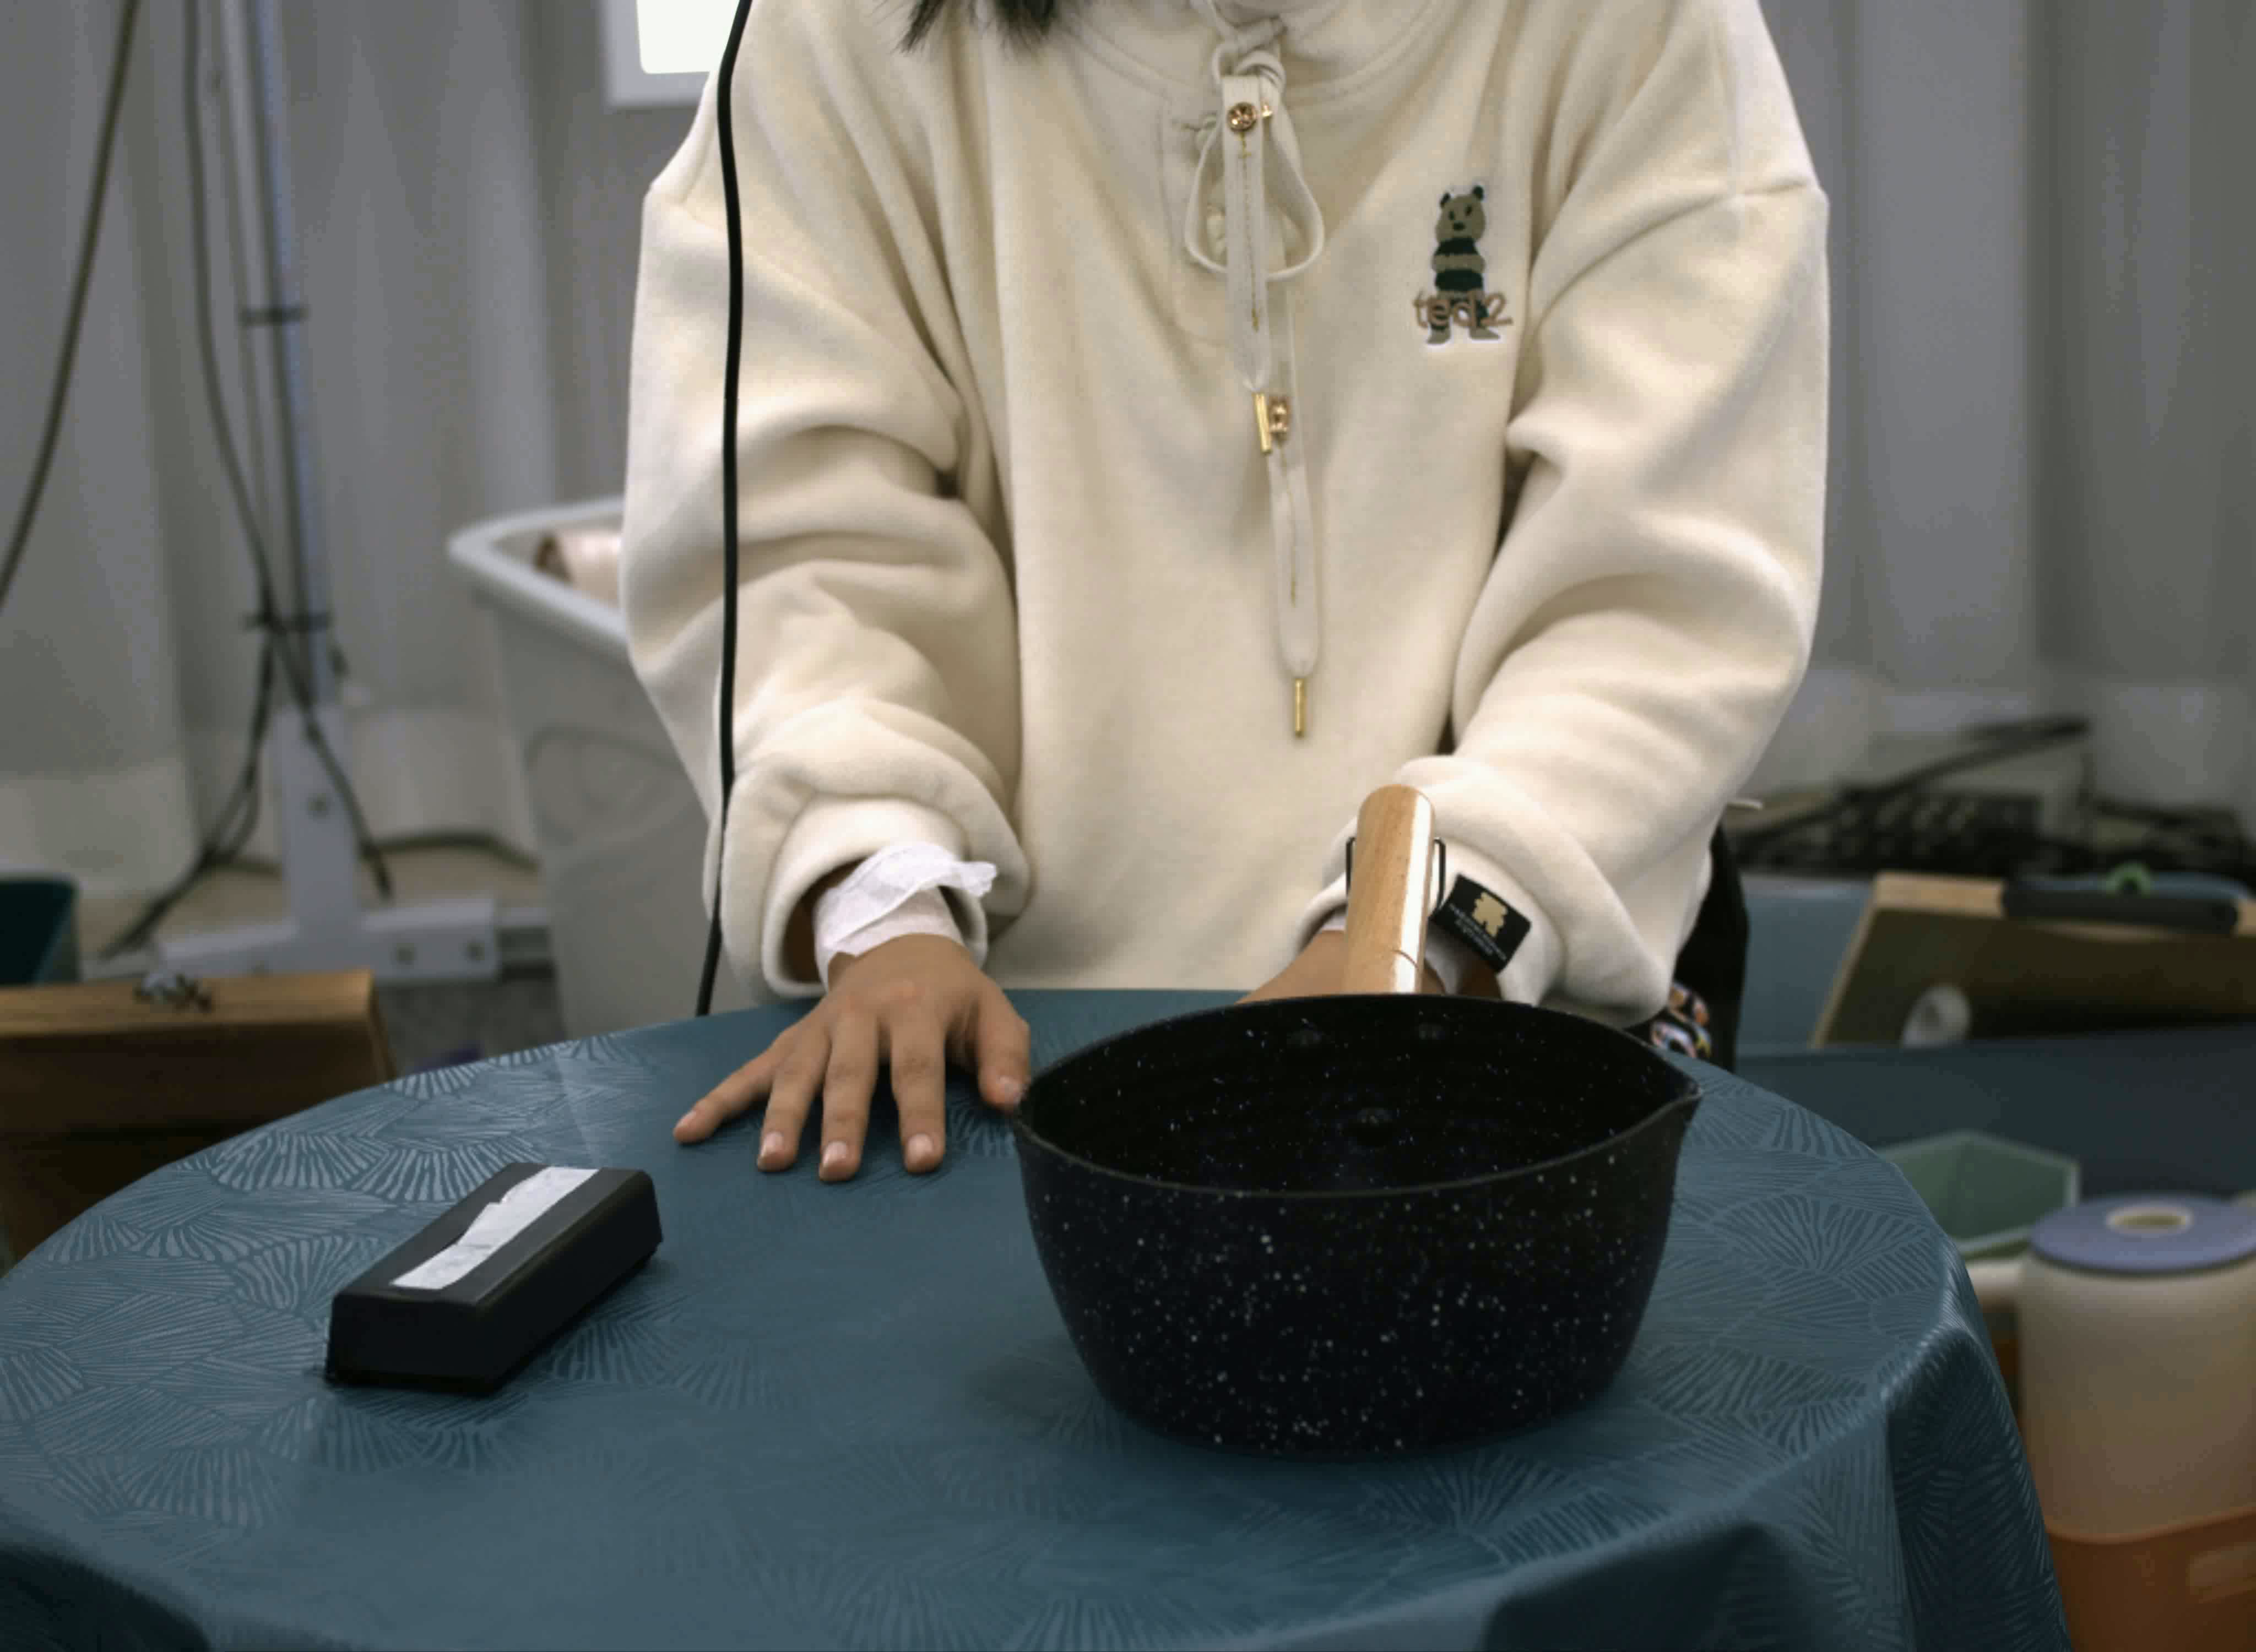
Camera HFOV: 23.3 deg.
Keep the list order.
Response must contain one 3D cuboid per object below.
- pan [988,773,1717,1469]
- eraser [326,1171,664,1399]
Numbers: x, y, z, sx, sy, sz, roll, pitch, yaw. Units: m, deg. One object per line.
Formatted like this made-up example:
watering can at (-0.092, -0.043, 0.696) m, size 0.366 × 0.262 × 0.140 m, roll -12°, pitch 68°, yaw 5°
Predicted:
pan at (0.070, 0.082, 1.616) m, size 0.207 × 0.108 × 0.345 m, roll -2°, pitch 16°, yaw 6°
eraser at (-0.186, 0.135, 1.622) m, size 0.053 × 0.030 × 0.126 m, roll 3°, pitch 14°, yaw 19°
